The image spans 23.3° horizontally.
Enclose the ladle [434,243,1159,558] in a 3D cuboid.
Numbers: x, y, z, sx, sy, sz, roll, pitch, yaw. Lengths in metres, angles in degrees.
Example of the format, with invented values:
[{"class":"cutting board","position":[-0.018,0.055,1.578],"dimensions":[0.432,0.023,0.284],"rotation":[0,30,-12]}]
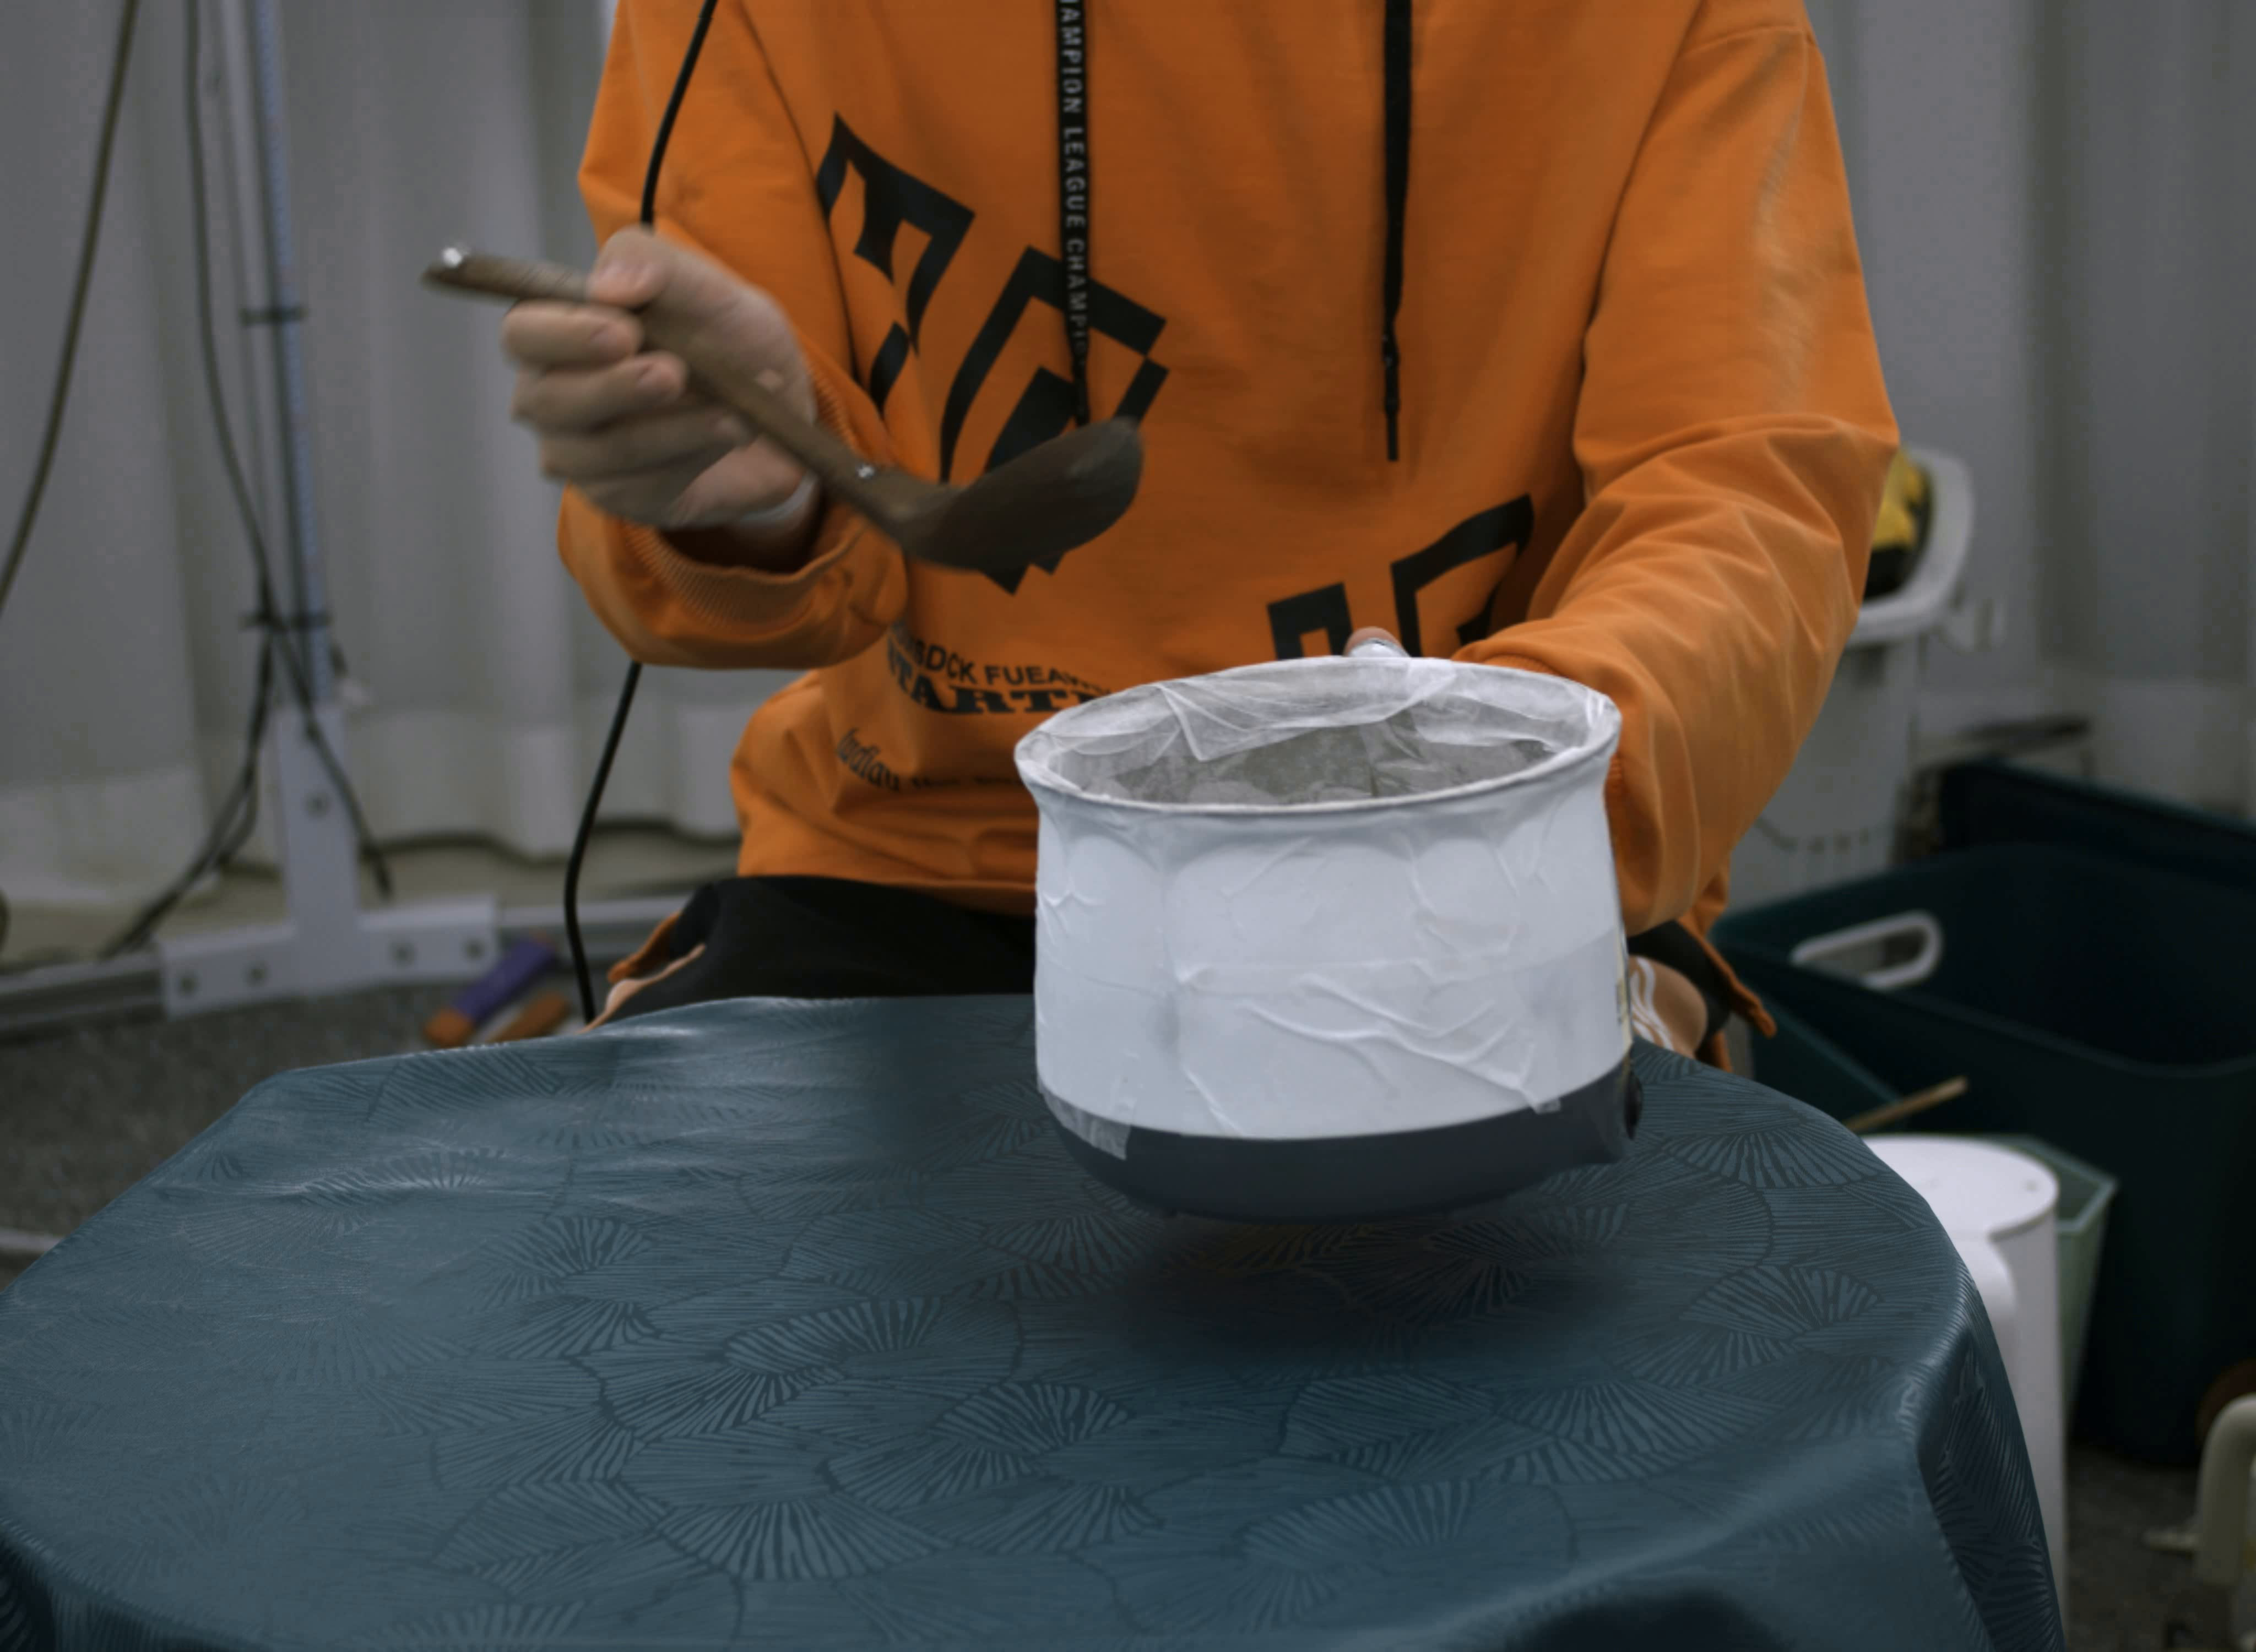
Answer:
[{"class":"ladle","position":[-0.106,-0.152,1.680],"dimensions":[0.276,0.071,0.076],"rotation":[32,26,31]}]

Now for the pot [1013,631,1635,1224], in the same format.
[{"class":"pot","position":[0.063,0.025,1.632],"dimensions":[0.178,0.136,0.235],"rotation":[0,15,11]}]
